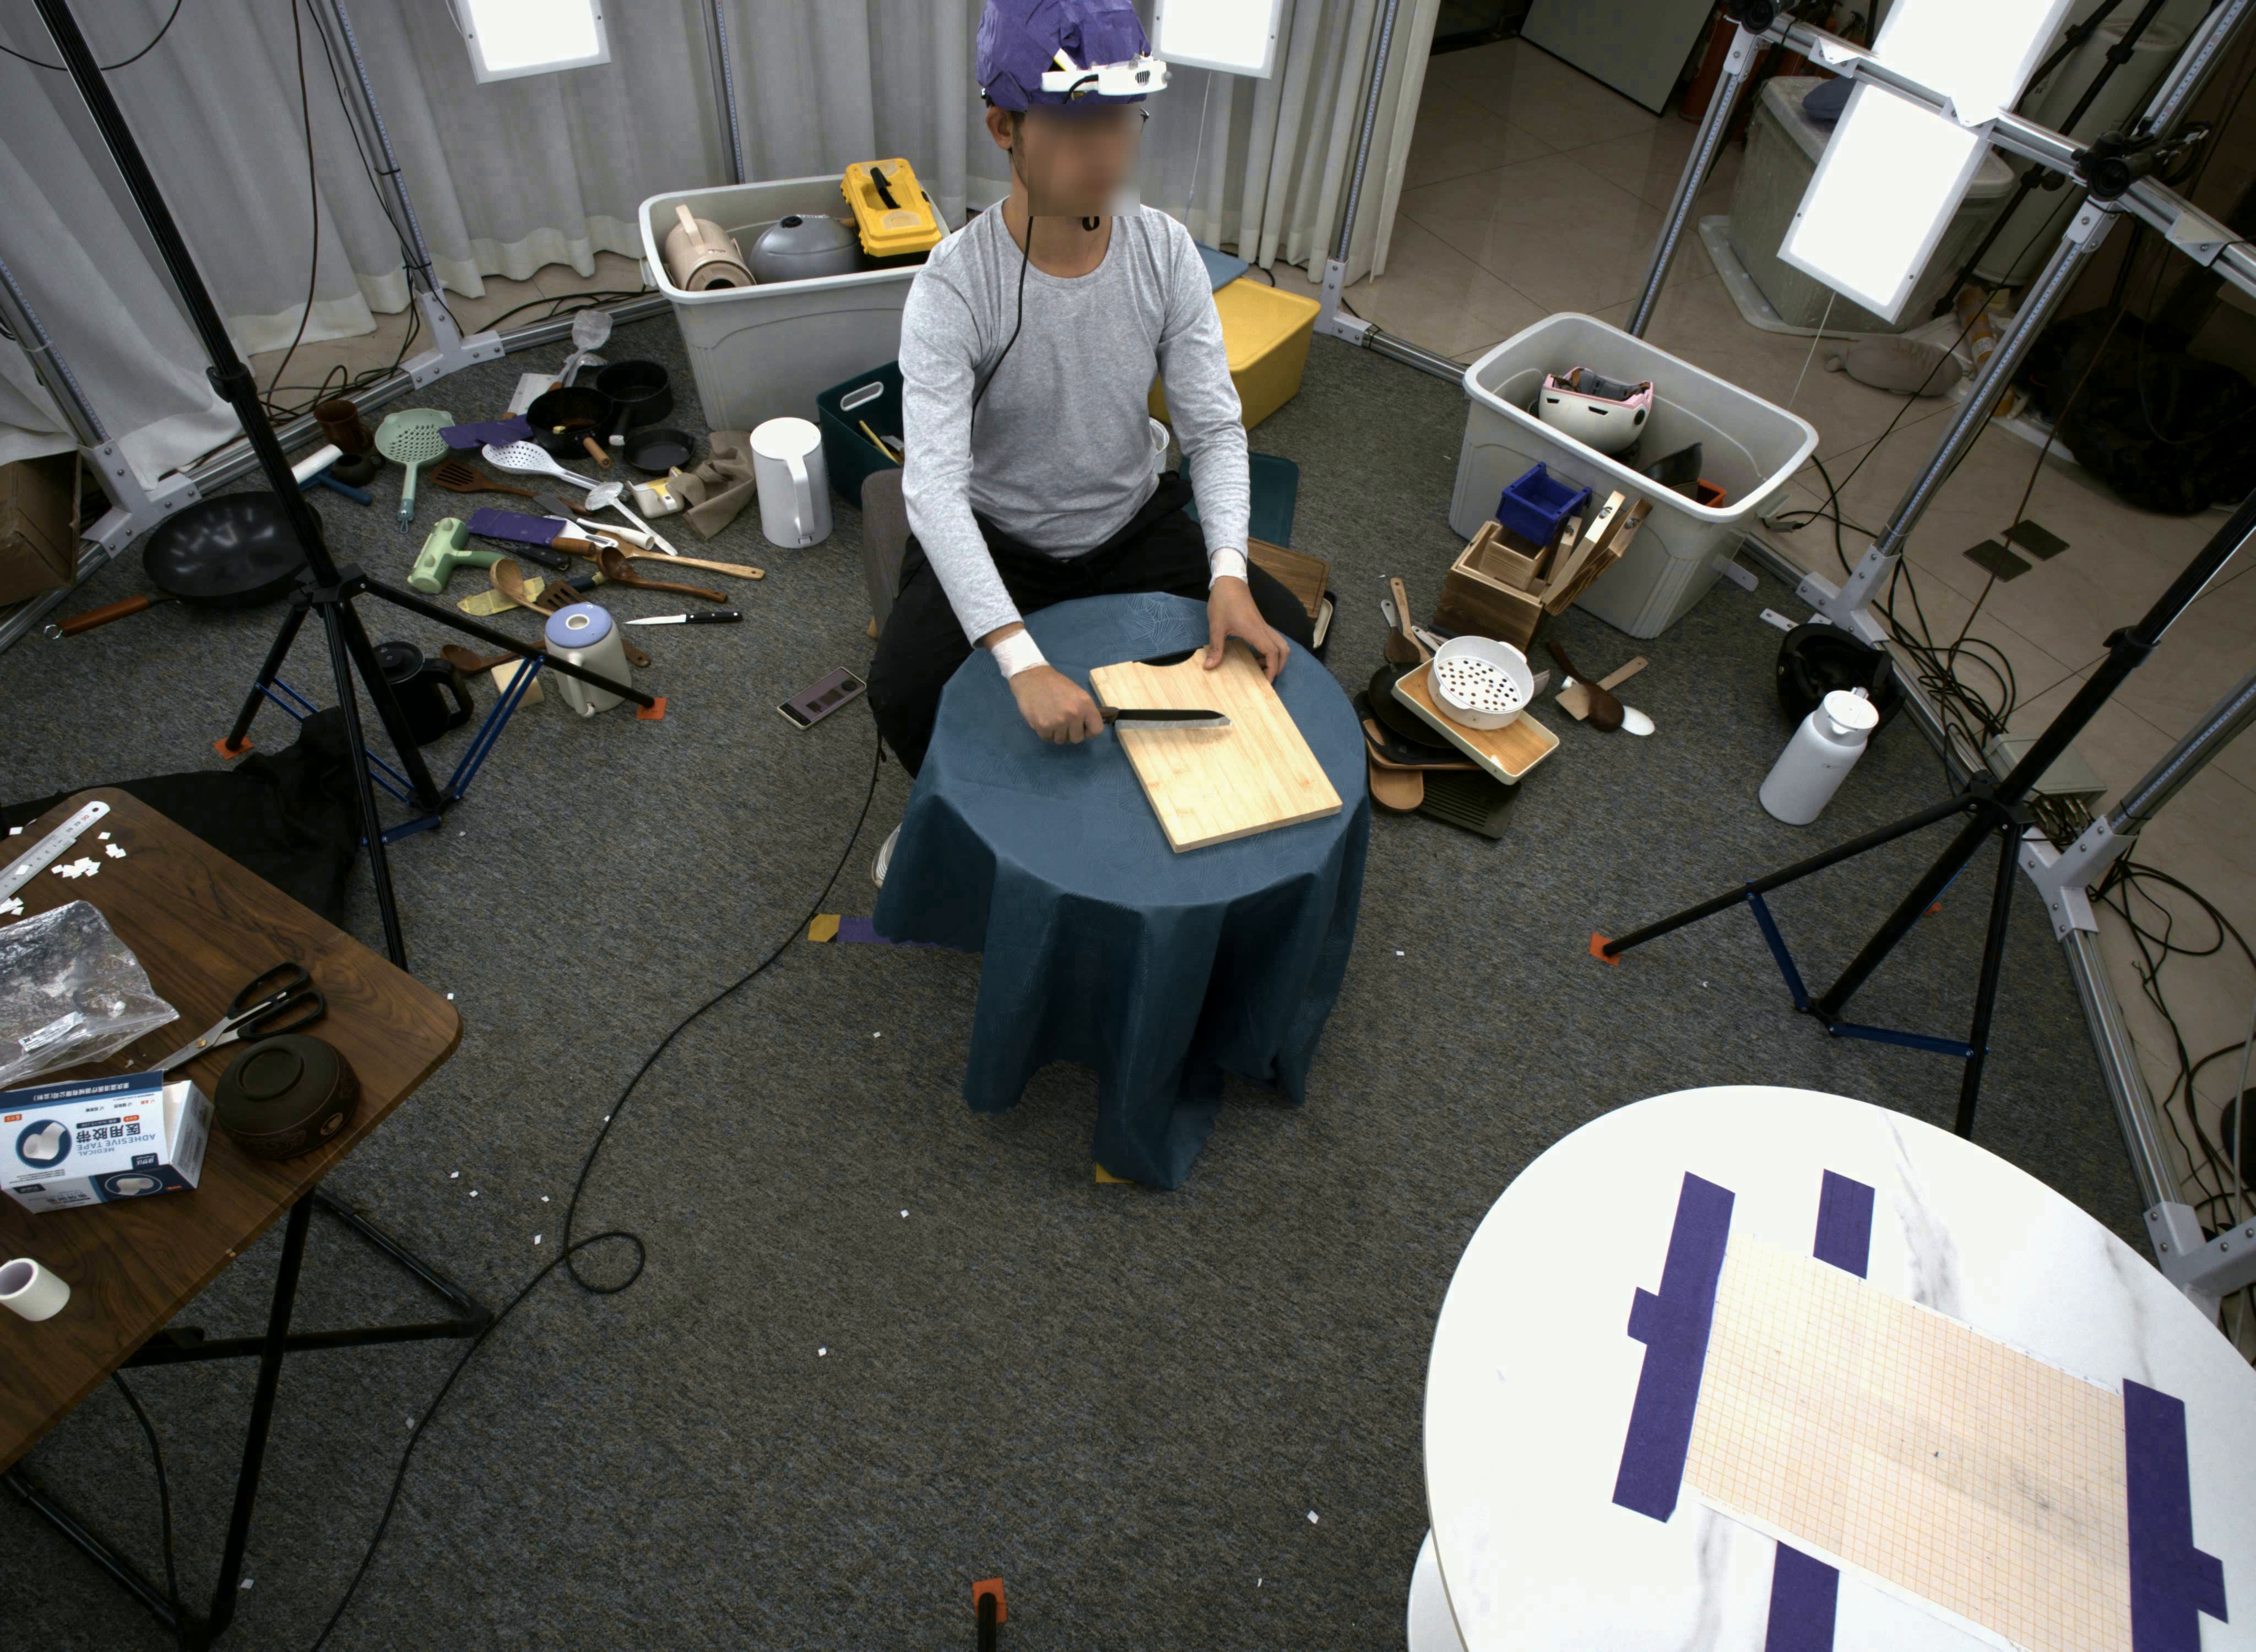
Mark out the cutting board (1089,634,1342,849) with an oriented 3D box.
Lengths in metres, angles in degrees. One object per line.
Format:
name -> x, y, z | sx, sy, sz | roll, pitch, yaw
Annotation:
cutting board -> 0.113, -0.124, 1.773 | 0.251, 0.023, 0.357 | -13, 51, -16

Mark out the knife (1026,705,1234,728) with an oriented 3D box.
knife -> 0.005, -0.147, 1.738 | 0.288, 0.049, 0.020 | 1, 61, -10
